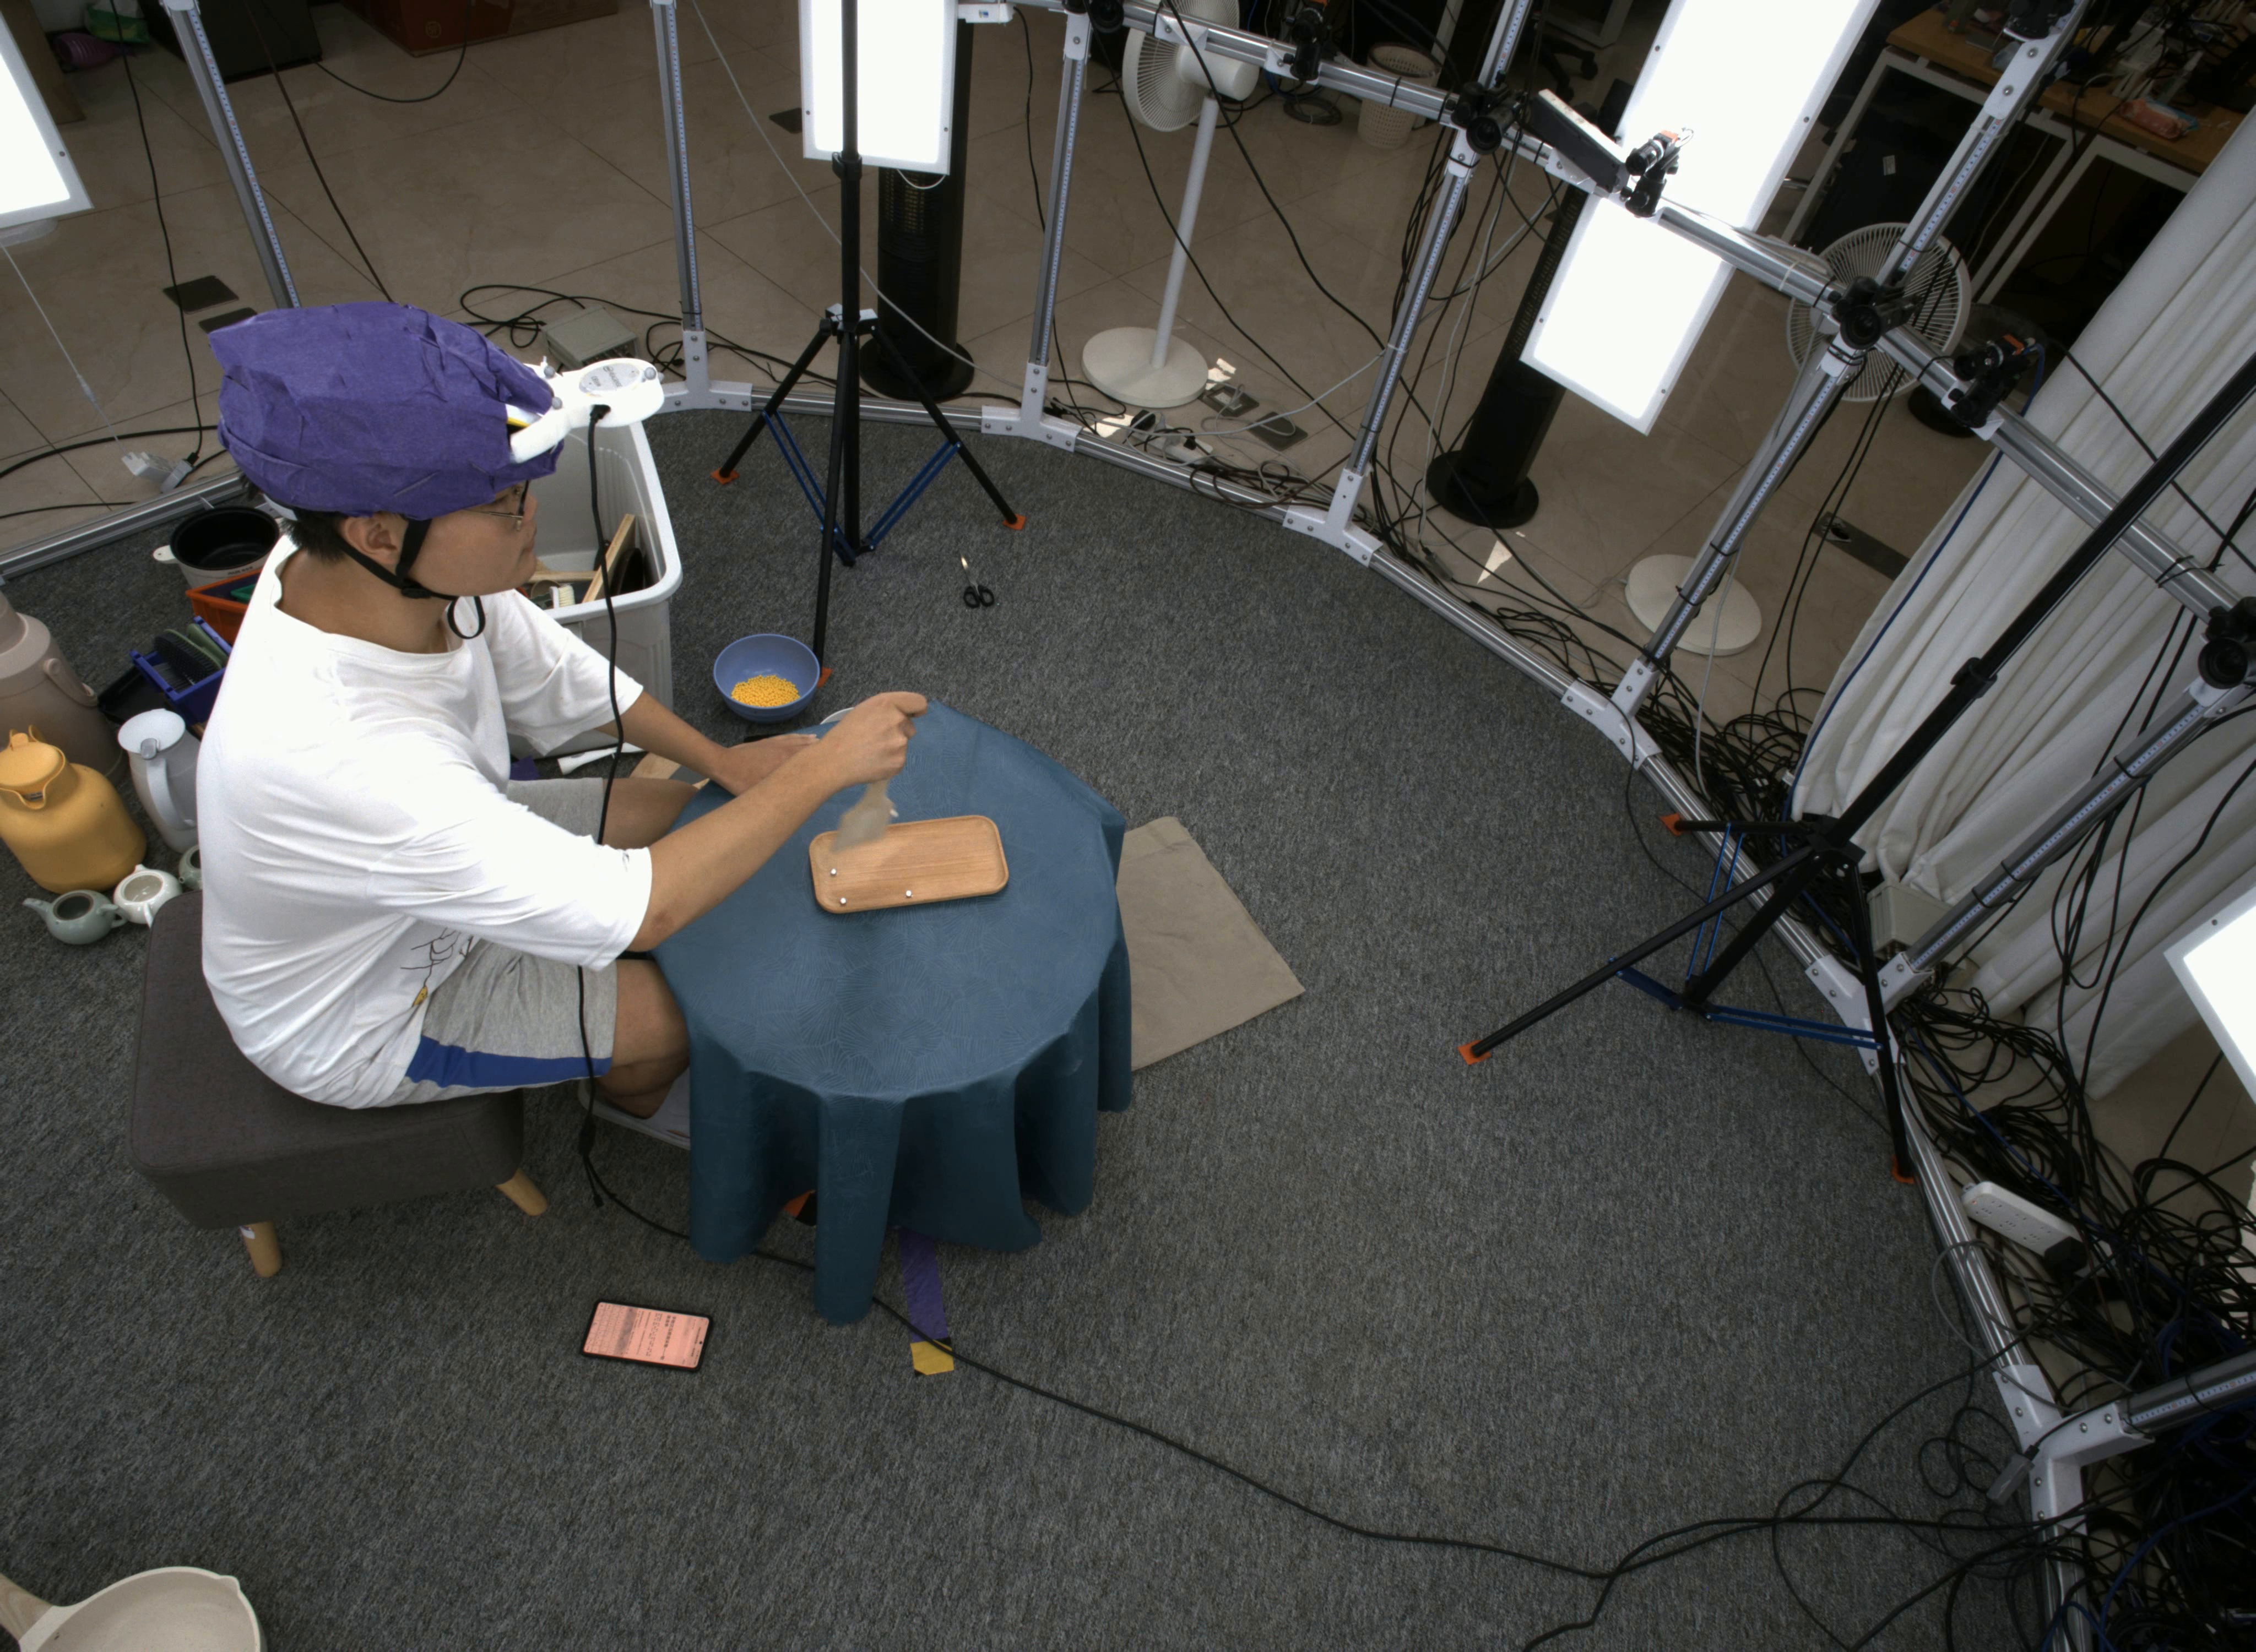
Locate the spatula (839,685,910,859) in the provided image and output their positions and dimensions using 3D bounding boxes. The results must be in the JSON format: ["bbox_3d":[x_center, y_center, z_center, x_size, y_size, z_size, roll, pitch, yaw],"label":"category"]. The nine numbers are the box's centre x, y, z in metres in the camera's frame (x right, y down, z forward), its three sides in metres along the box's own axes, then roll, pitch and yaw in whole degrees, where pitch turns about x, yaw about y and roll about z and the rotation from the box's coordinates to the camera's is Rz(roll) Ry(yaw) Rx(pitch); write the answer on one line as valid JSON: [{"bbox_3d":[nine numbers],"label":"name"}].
[{"bbox_3d":[-0.286,-0.058,1.511,0.073,0.297,0.010,-17,59,-32],"label":"spatula"}]

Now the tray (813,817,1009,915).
[{"bbox_3d":[-0.286,0.051,1.720,0.251,0.023,0.128,-5,58,-17],"label":"tray"}]
